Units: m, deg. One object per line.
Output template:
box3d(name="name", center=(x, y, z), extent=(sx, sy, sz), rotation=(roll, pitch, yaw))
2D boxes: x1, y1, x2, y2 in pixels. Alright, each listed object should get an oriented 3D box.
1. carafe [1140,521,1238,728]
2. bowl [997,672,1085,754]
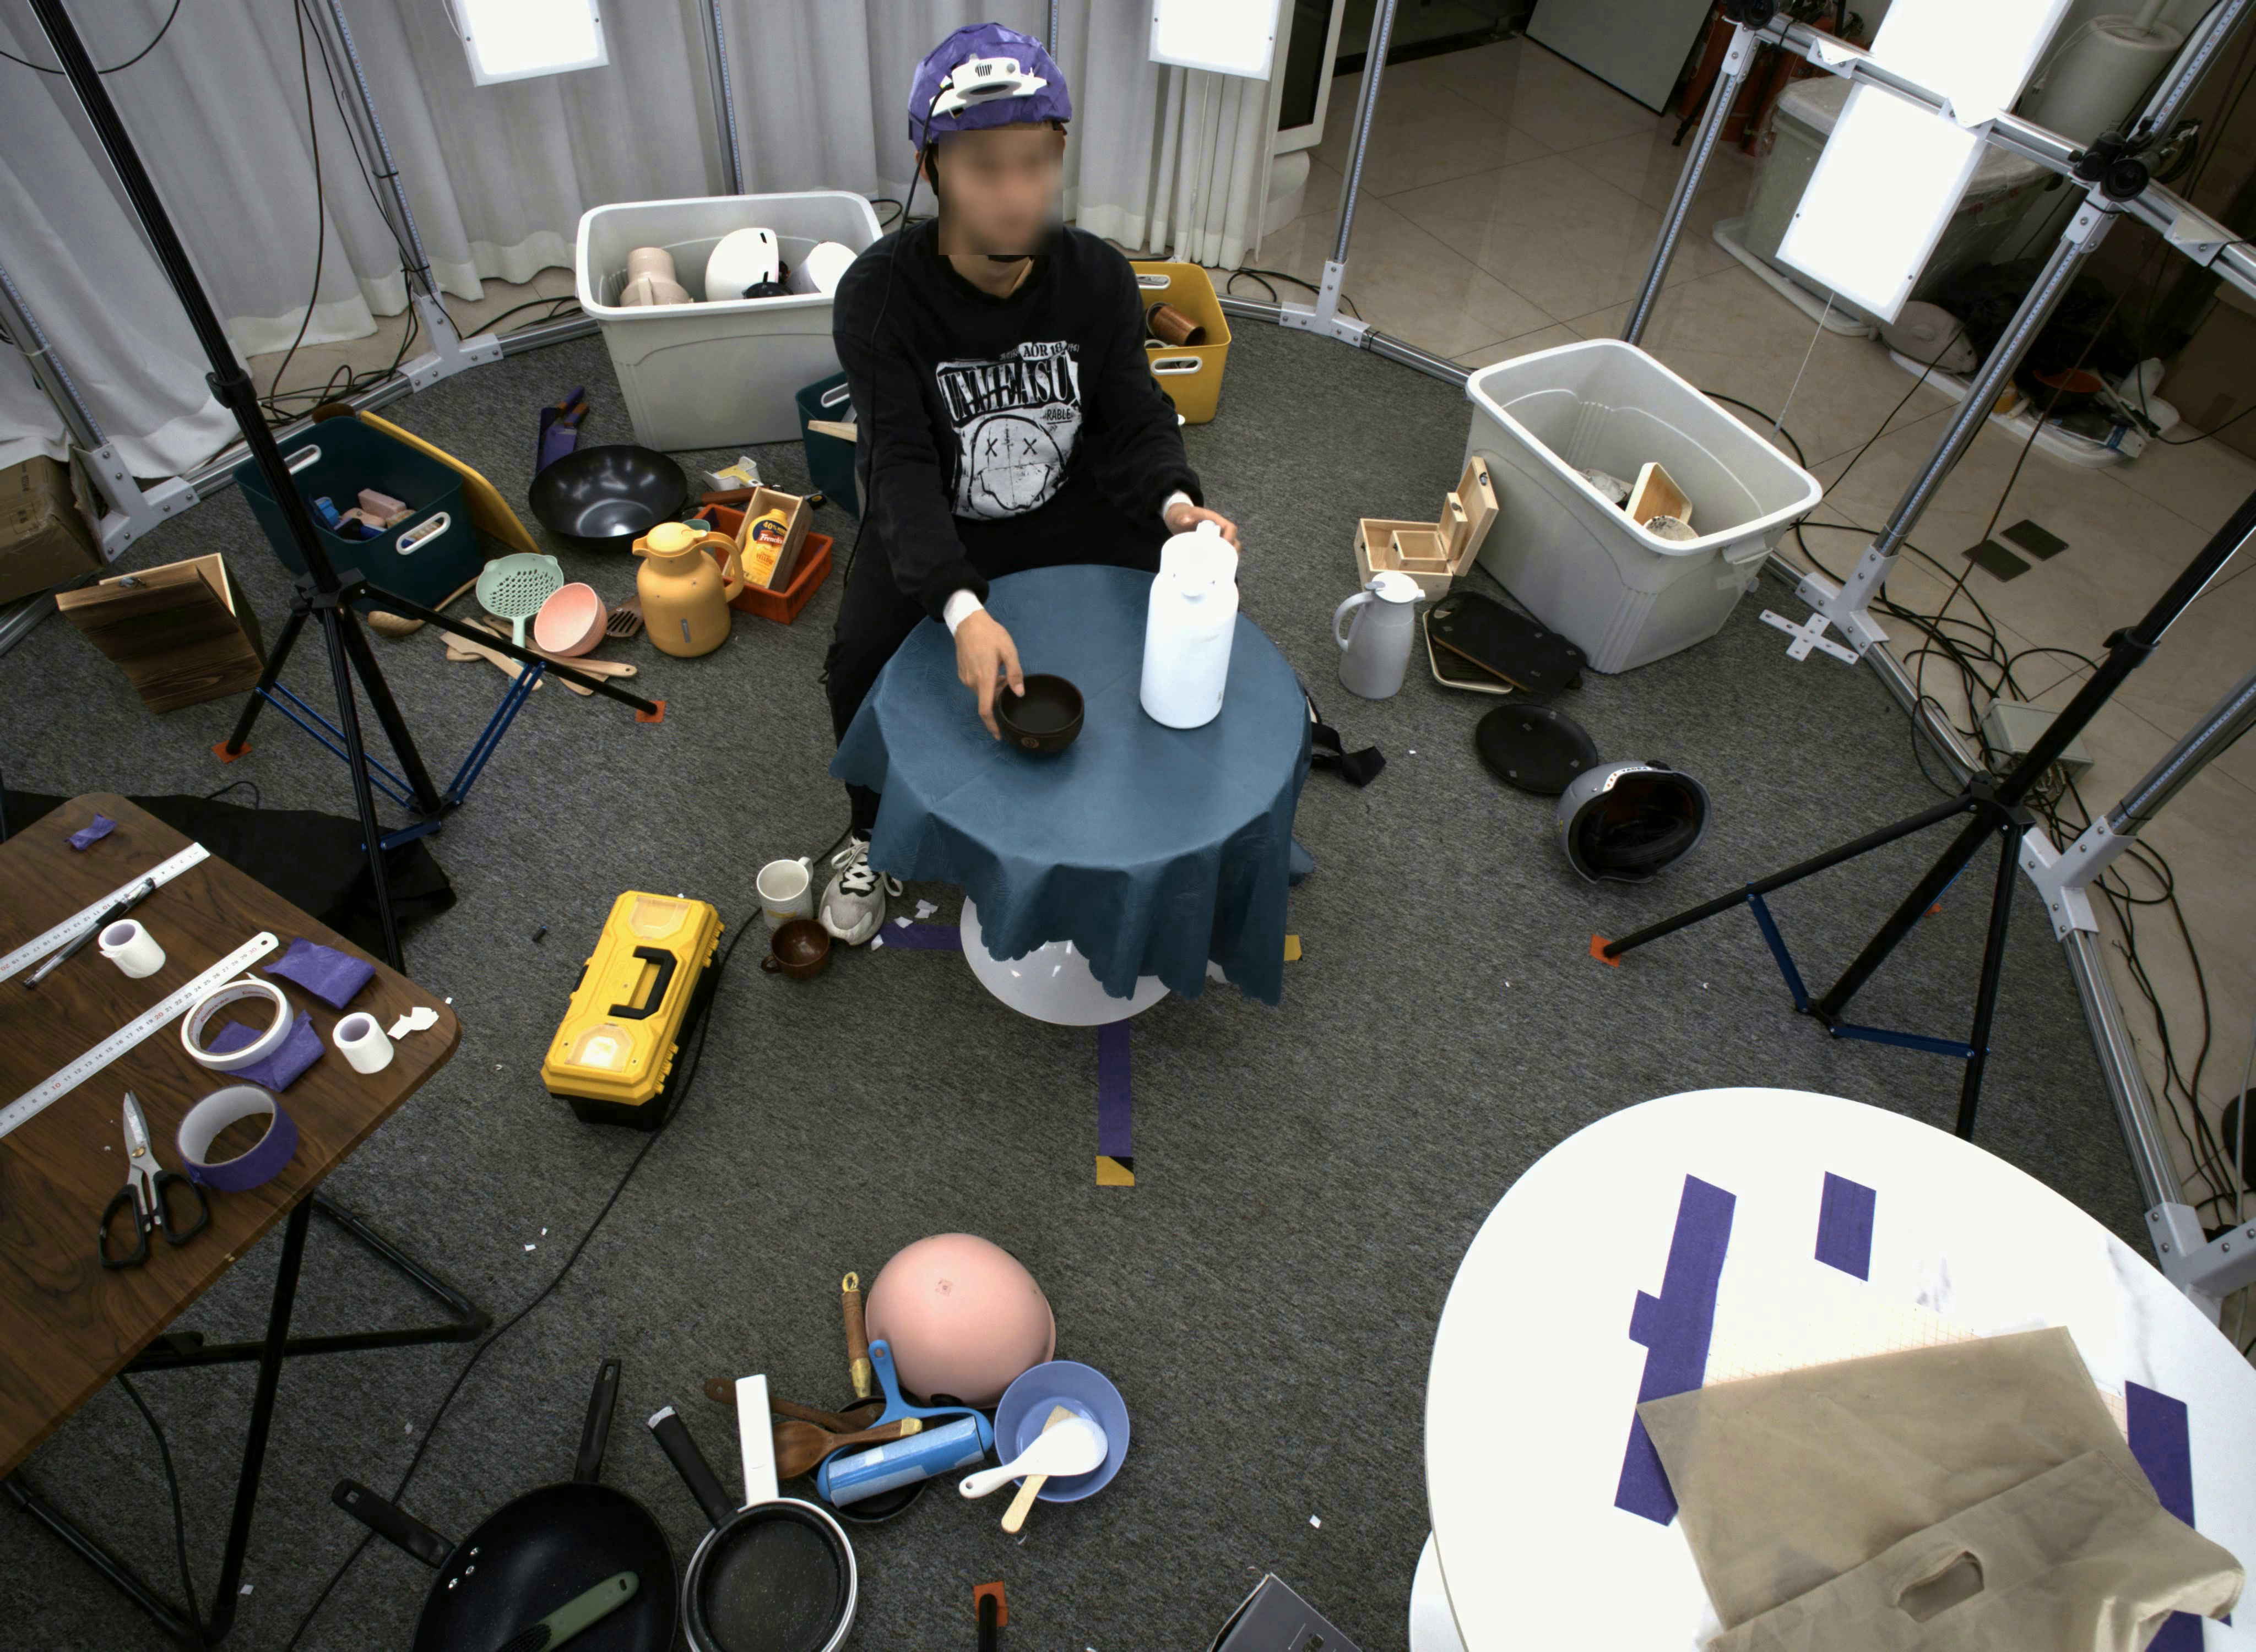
box3d(name="carafe", center=(0.084, -0.274, 1.740), extent=(0.124, 0.262, 0.177), rotation=(9, 50, 6))
box3d(name="bowl", center=(-0.118, -0.145, 1.740), extent=(0.118, 0.068, 0.121), rotation=(2, 49, -2))
